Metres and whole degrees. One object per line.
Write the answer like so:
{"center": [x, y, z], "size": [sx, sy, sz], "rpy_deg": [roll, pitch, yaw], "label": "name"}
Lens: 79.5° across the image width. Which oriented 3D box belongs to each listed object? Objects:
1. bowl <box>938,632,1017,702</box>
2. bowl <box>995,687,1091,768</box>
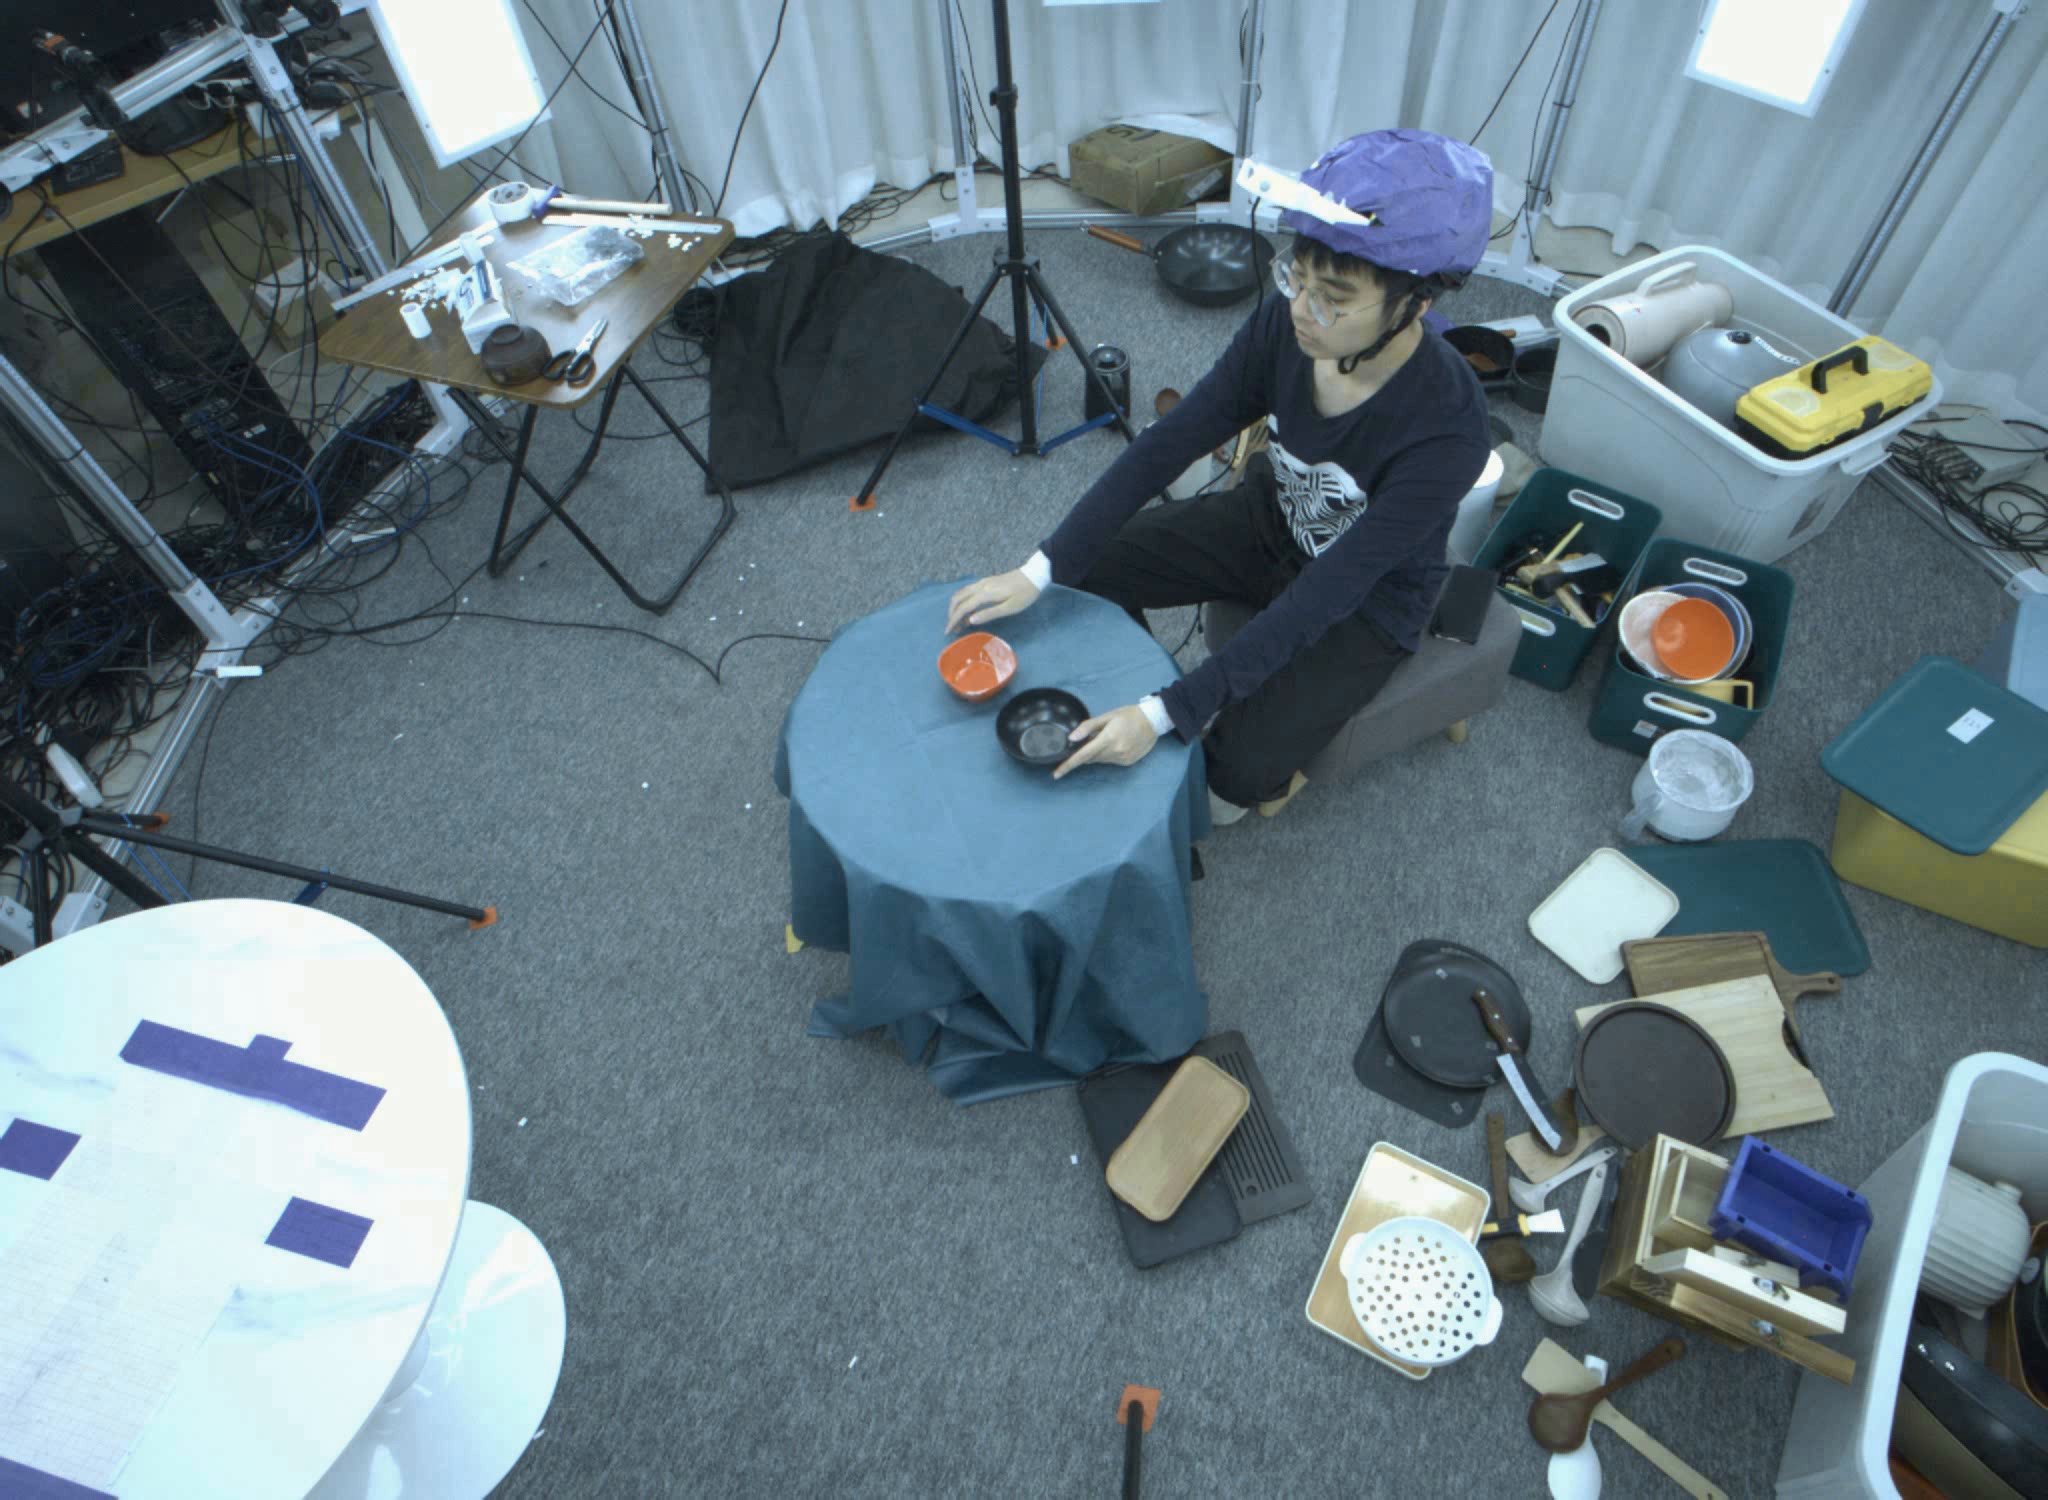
{"center": [-0.068, -0.118, 1.849], "size": [0.119, 0.052, 0.117], "rpy_deg": [-1, 54, 3], "label": "bowl"}
{"center": [0.027, -0.023, 1.784], "size": [0.140, 0.050, 0.138], "rpy_deg": [2, 52, -1], "label": "bowl"}
